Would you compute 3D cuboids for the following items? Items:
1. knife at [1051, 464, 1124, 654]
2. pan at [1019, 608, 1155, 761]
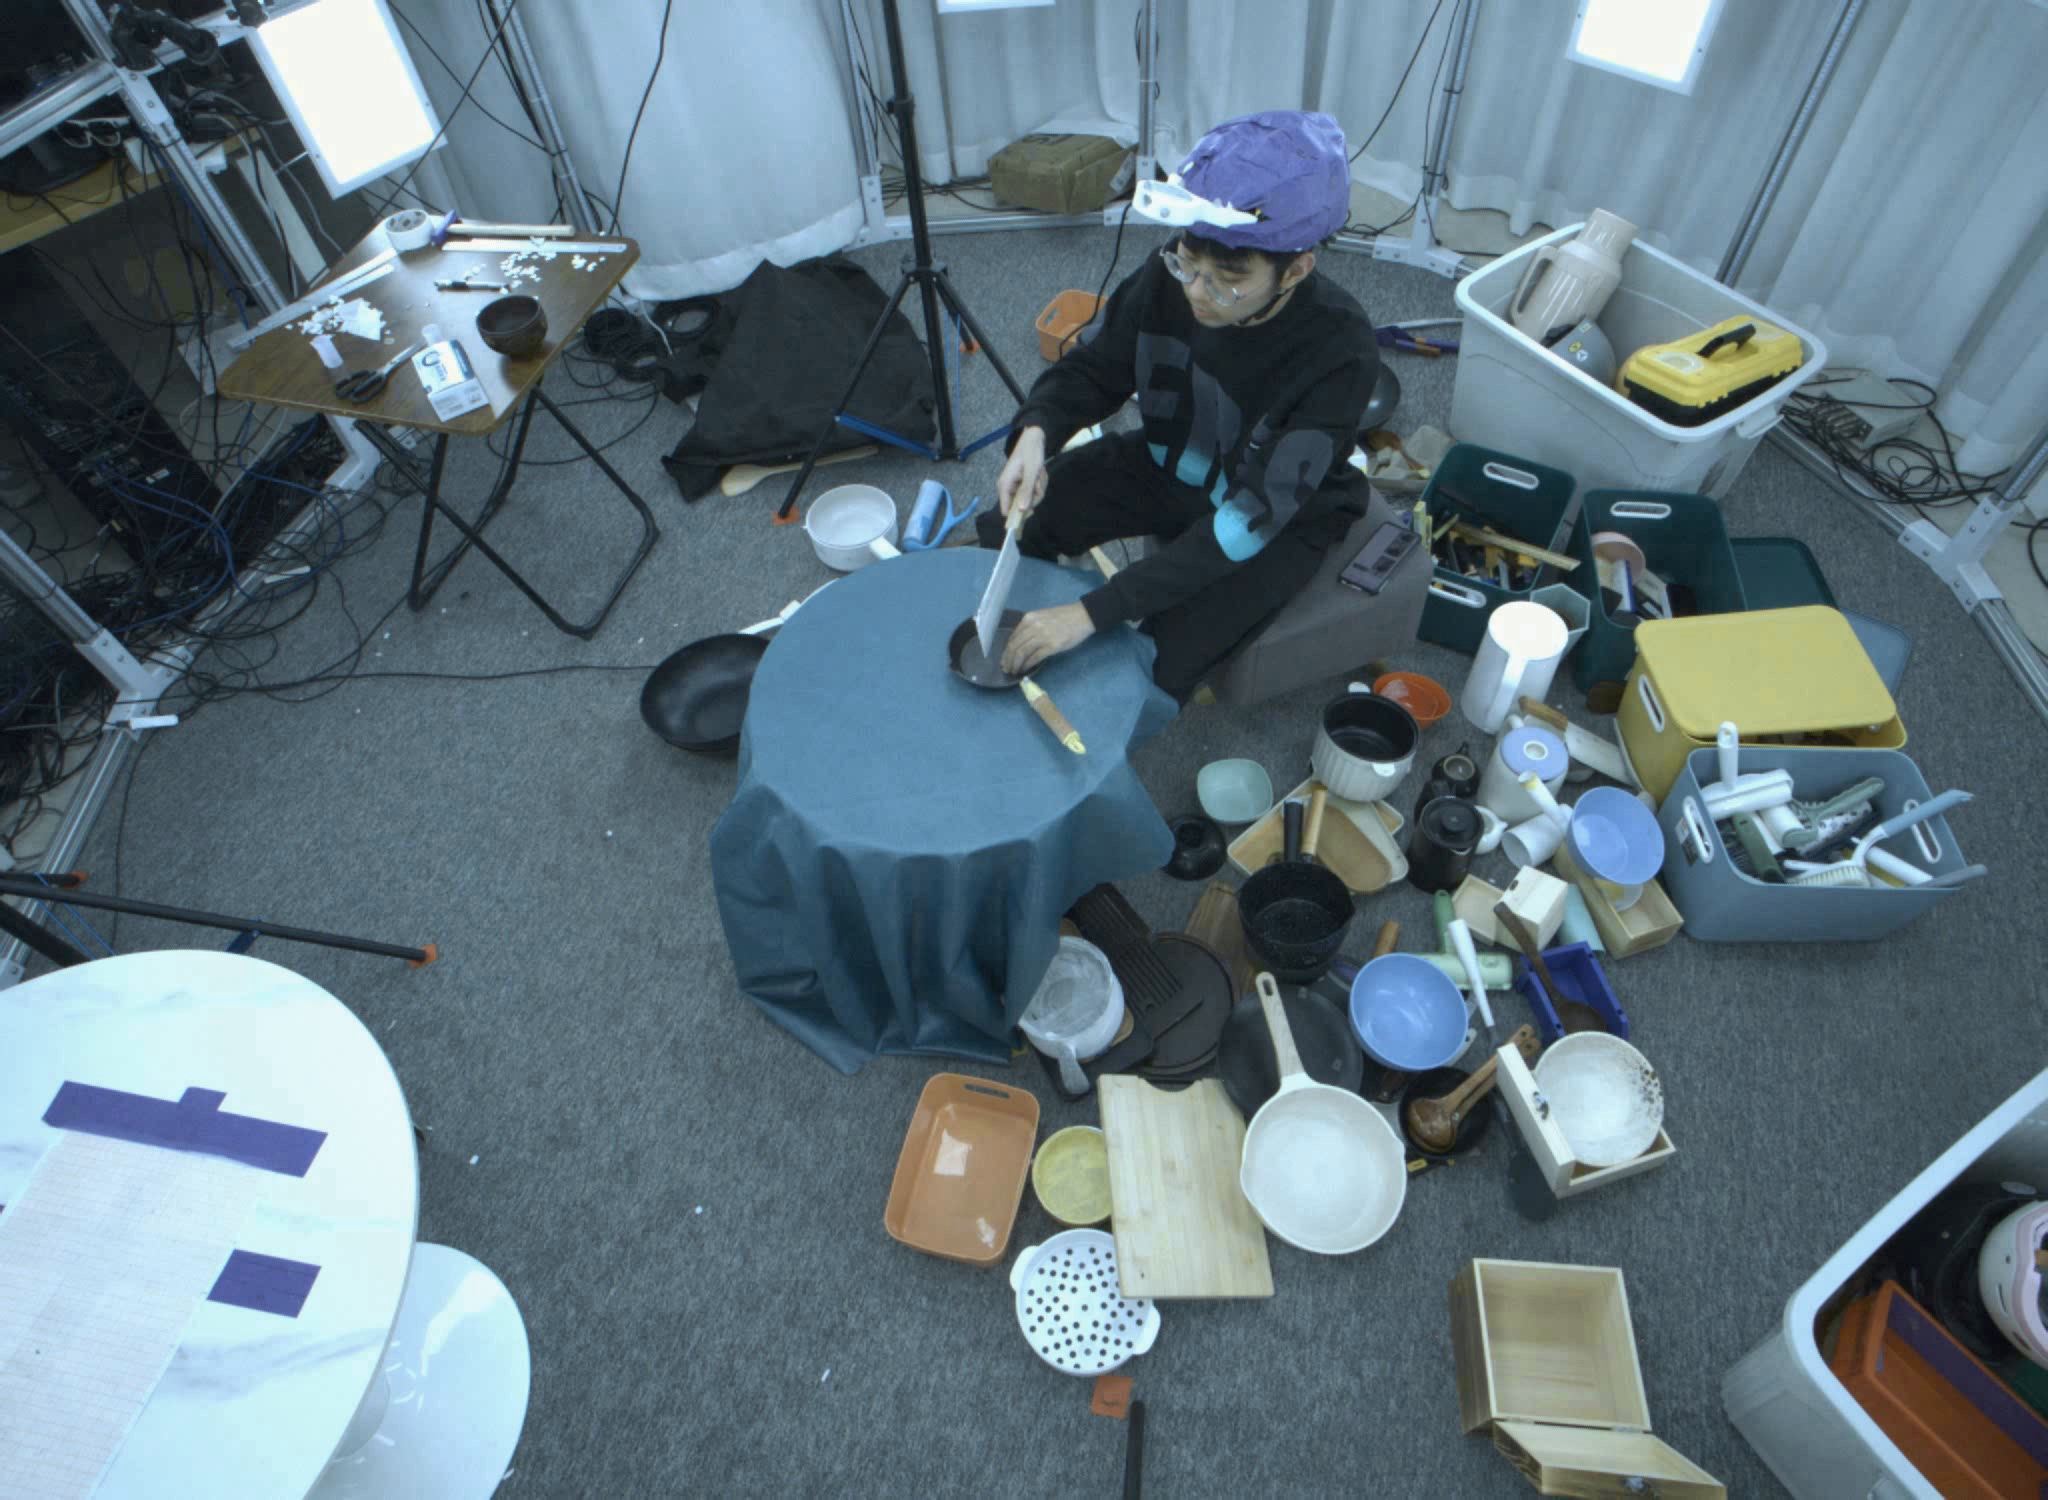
[{"bbox_3d":[0.093,-0.296,1.839,0.021,0.115,0.315,15,71,16],"label":"knife"},{"bbox_3d":[0.106,-0.092,1.818,0.170,0.050,0.318,-22,56,-14],"label":"pan"}]
